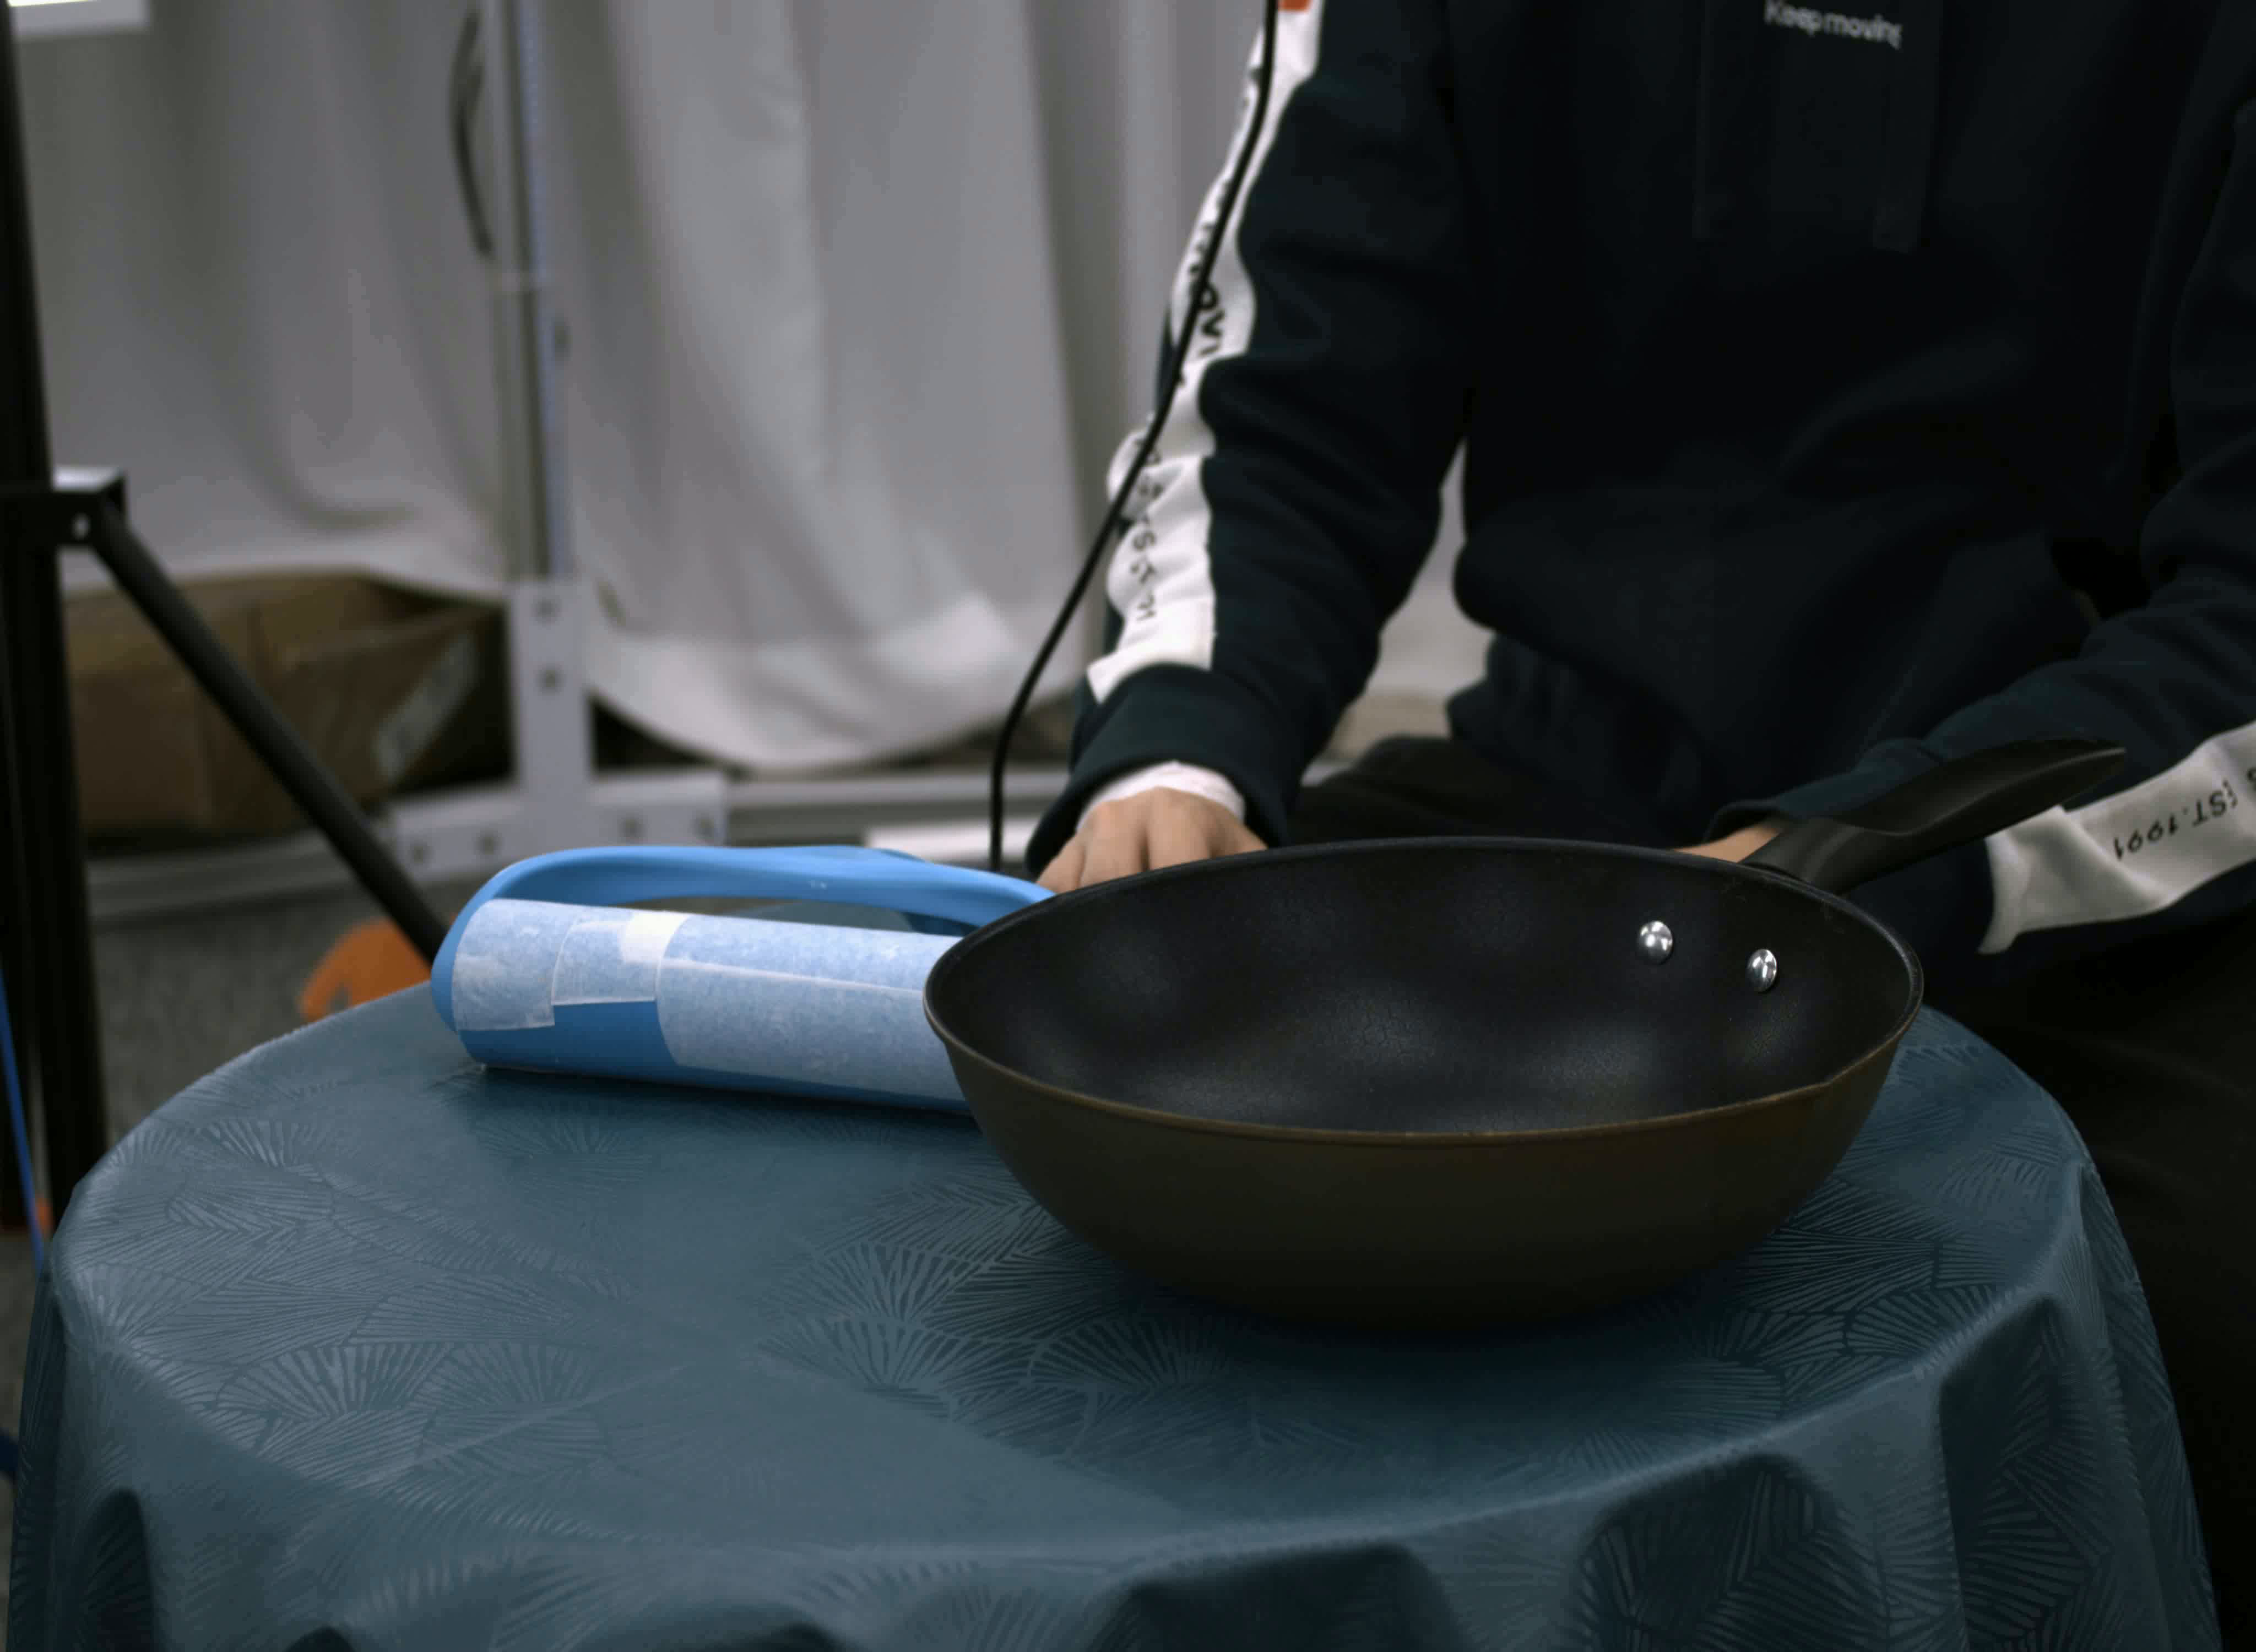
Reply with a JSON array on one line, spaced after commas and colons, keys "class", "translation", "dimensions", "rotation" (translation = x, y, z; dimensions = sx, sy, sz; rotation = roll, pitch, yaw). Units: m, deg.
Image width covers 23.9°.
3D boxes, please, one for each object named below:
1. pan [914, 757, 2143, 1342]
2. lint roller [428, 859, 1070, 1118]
[{"class": "pan", "translation": [0.146, 0.061, 1.551], "dimensions": [0.452, 0.087, 0.295], "rotation": [-16, 21, -41]}, {"class": "lint roller", "translation": [-0.095, 0.041, 1.710], "dimensions": [0.231, 0.068, 0.178], "rotation": [1, 17, 21]}]
